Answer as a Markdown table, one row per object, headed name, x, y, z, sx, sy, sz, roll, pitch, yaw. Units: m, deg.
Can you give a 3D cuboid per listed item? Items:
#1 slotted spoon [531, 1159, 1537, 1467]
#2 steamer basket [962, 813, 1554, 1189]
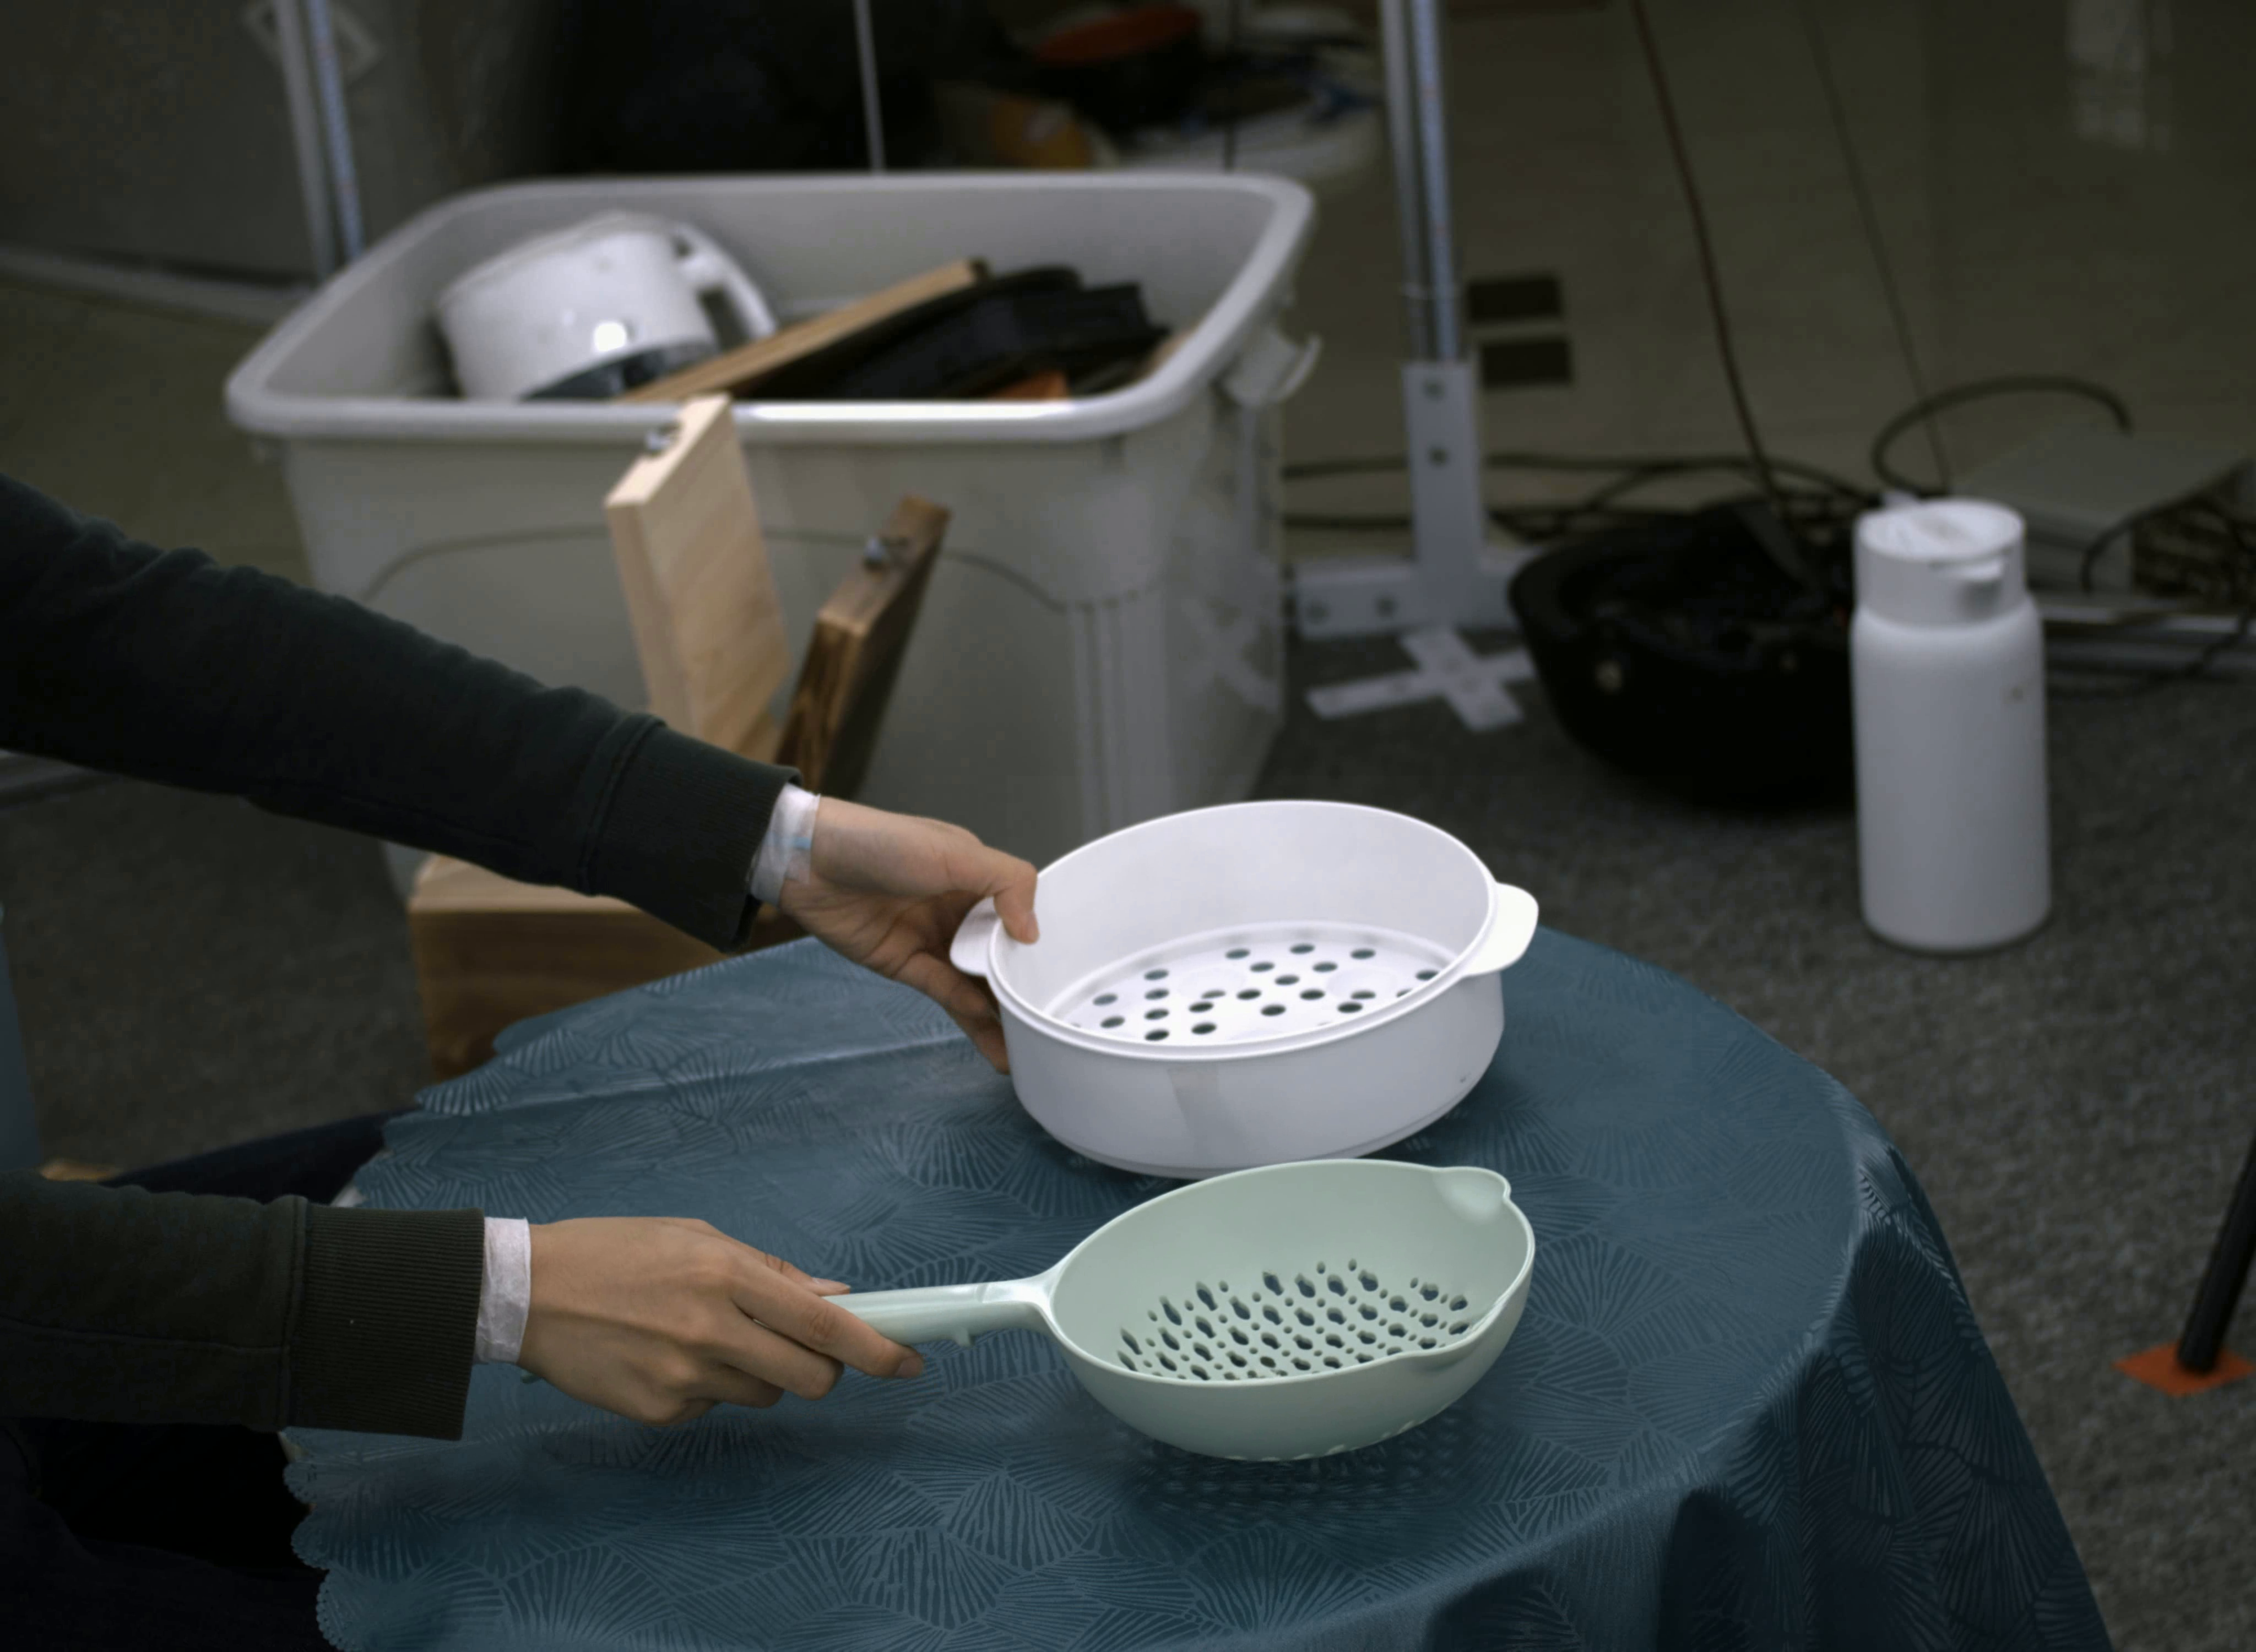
| name | x | y | z | sx | sy | sz | roll | pitch | yaw |
| --- | --- | --- | --- | --- | --- | --- | --- | --- | --- |
| slotted spoon | -0.037 | 0.175 | 1.988 | 0.358 | 0.076 | 0.167 | 2 | 23 | 8 |
| steamer basket | 0.053 | 0.068 | 2.199 | 0.230 | 0.070 | 0.199 | -1 | 27 | 14 |
